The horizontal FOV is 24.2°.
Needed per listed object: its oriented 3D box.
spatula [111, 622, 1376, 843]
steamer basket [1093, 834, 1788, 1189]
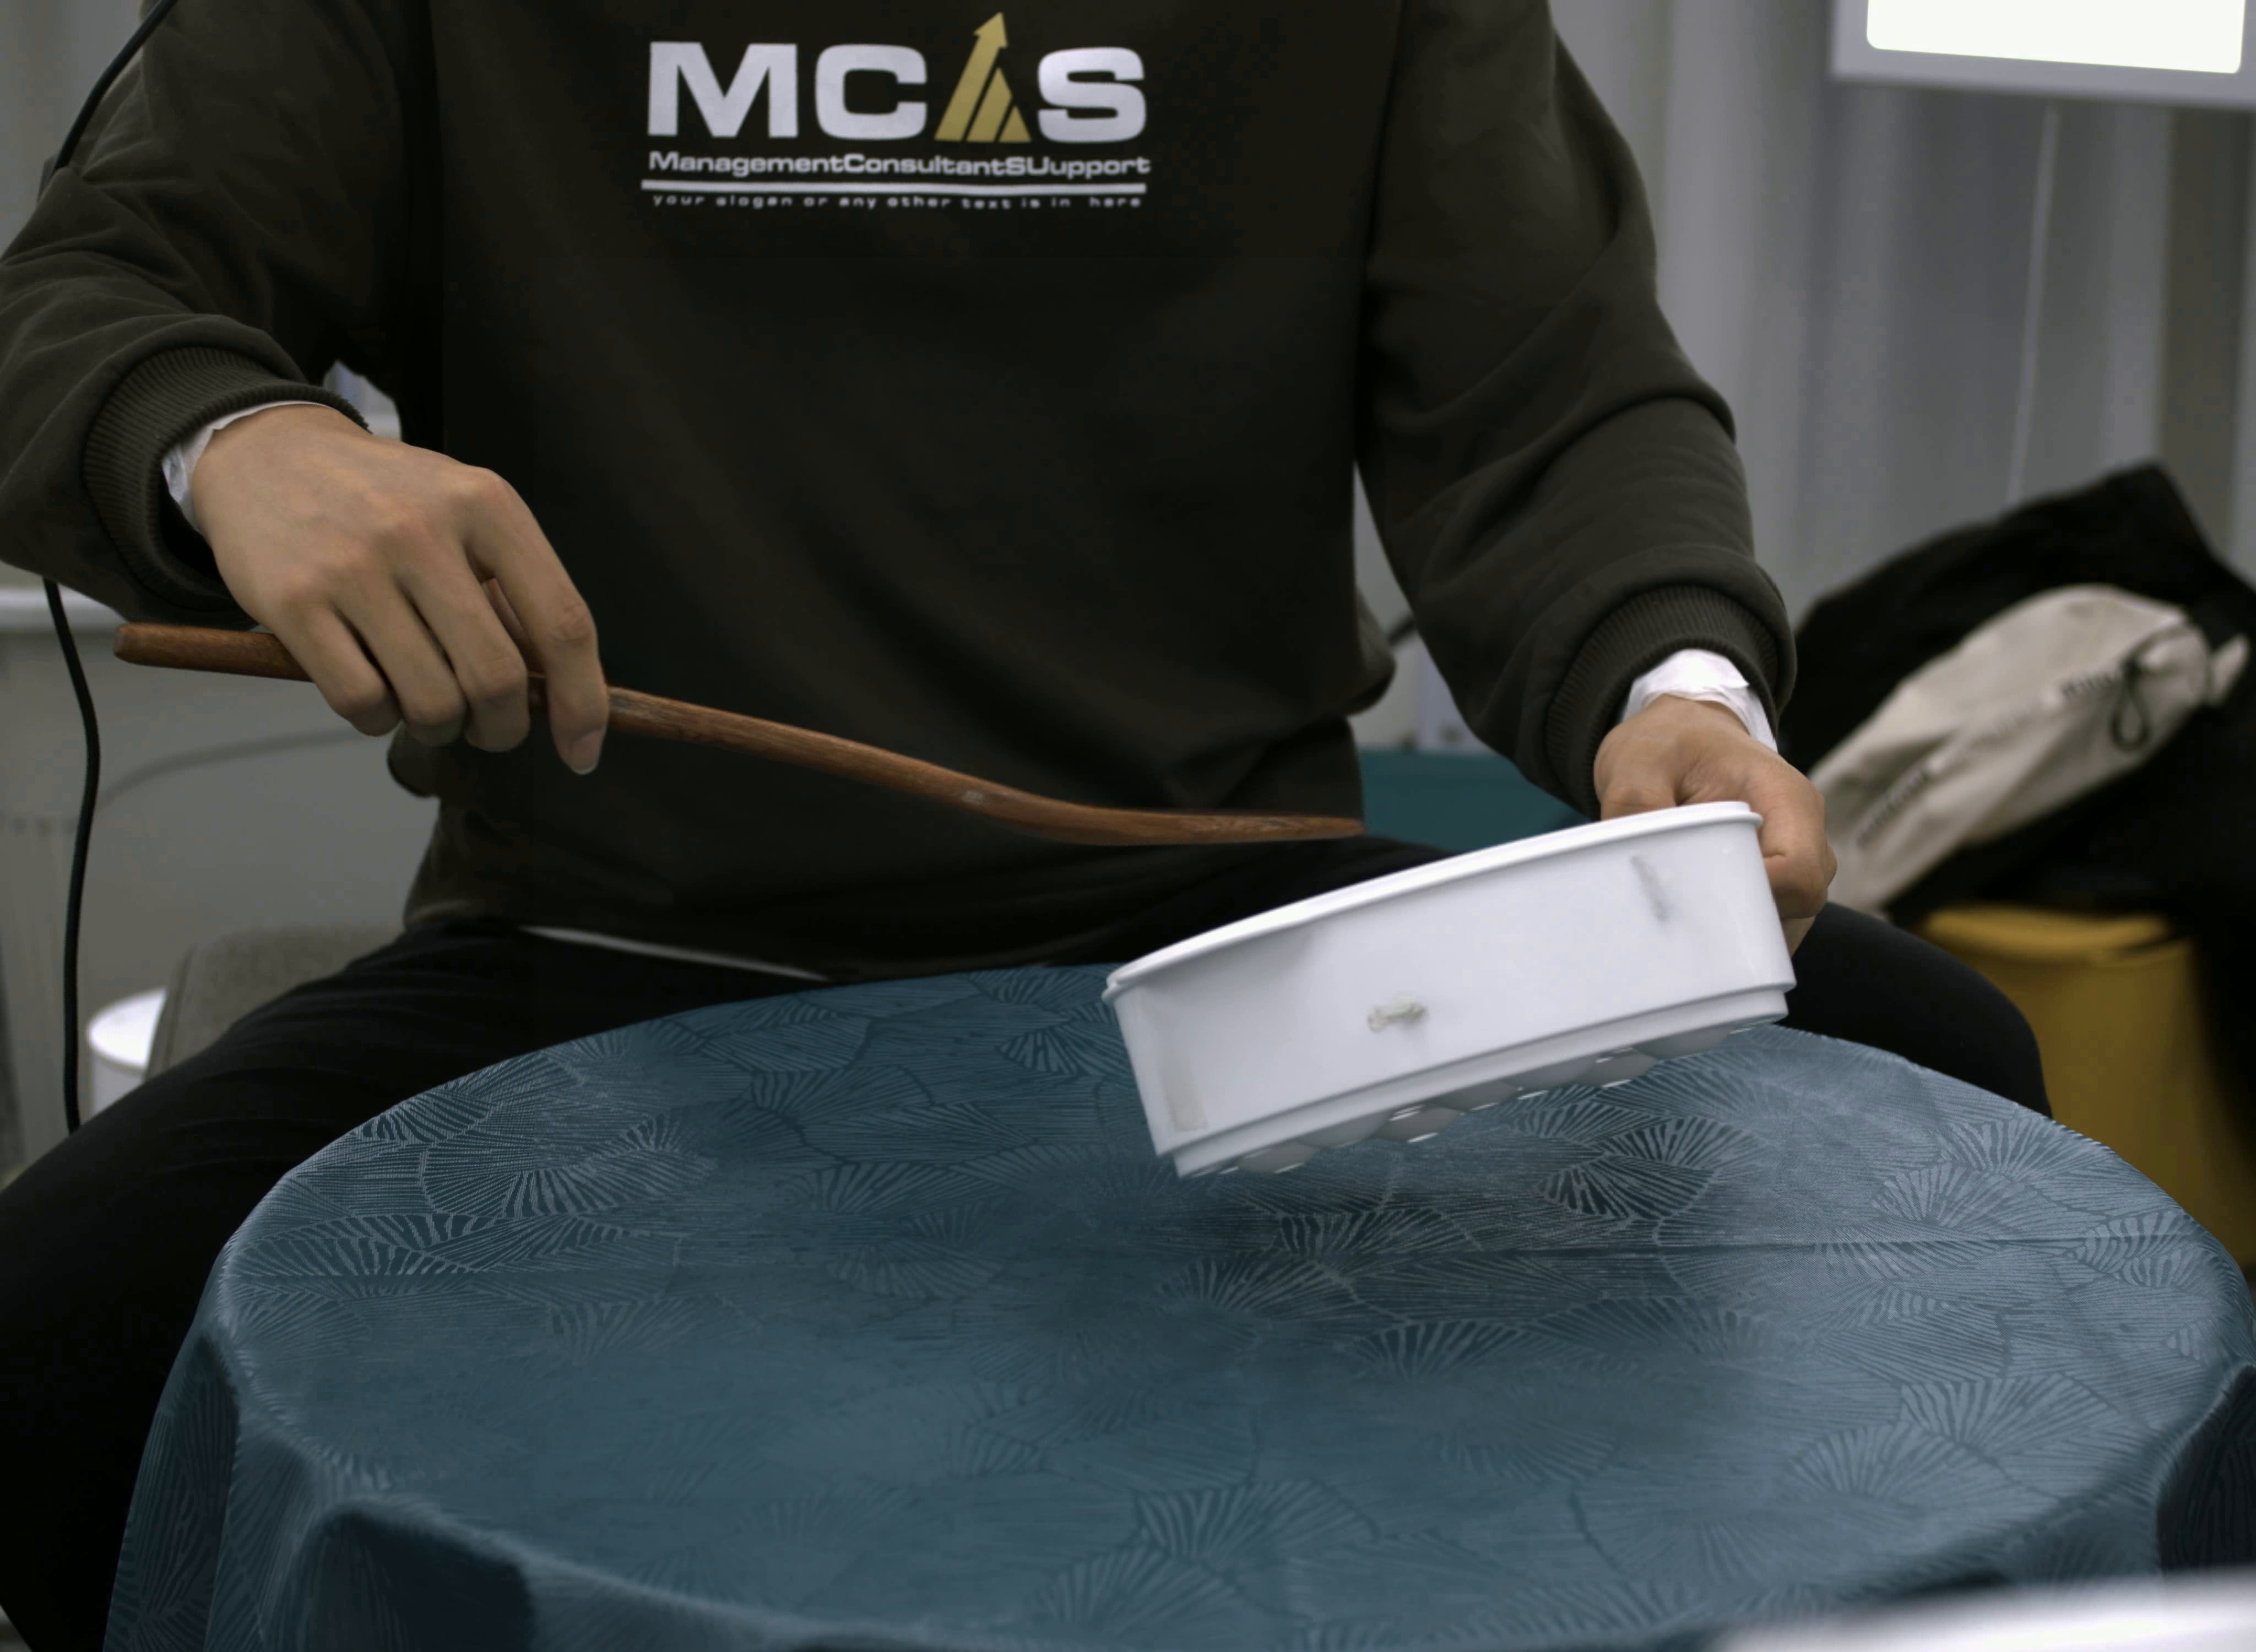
[{"bbox_3d":[-0.113,-0.024,1.590,0.386,0.024,0.085,10,2,-12],"label":"spatula"},{"bbox_3d":[0.093,0.058,1.534,0.232,0.069,0.200,-1,-14,-46],"label":"steamer basket"}]
